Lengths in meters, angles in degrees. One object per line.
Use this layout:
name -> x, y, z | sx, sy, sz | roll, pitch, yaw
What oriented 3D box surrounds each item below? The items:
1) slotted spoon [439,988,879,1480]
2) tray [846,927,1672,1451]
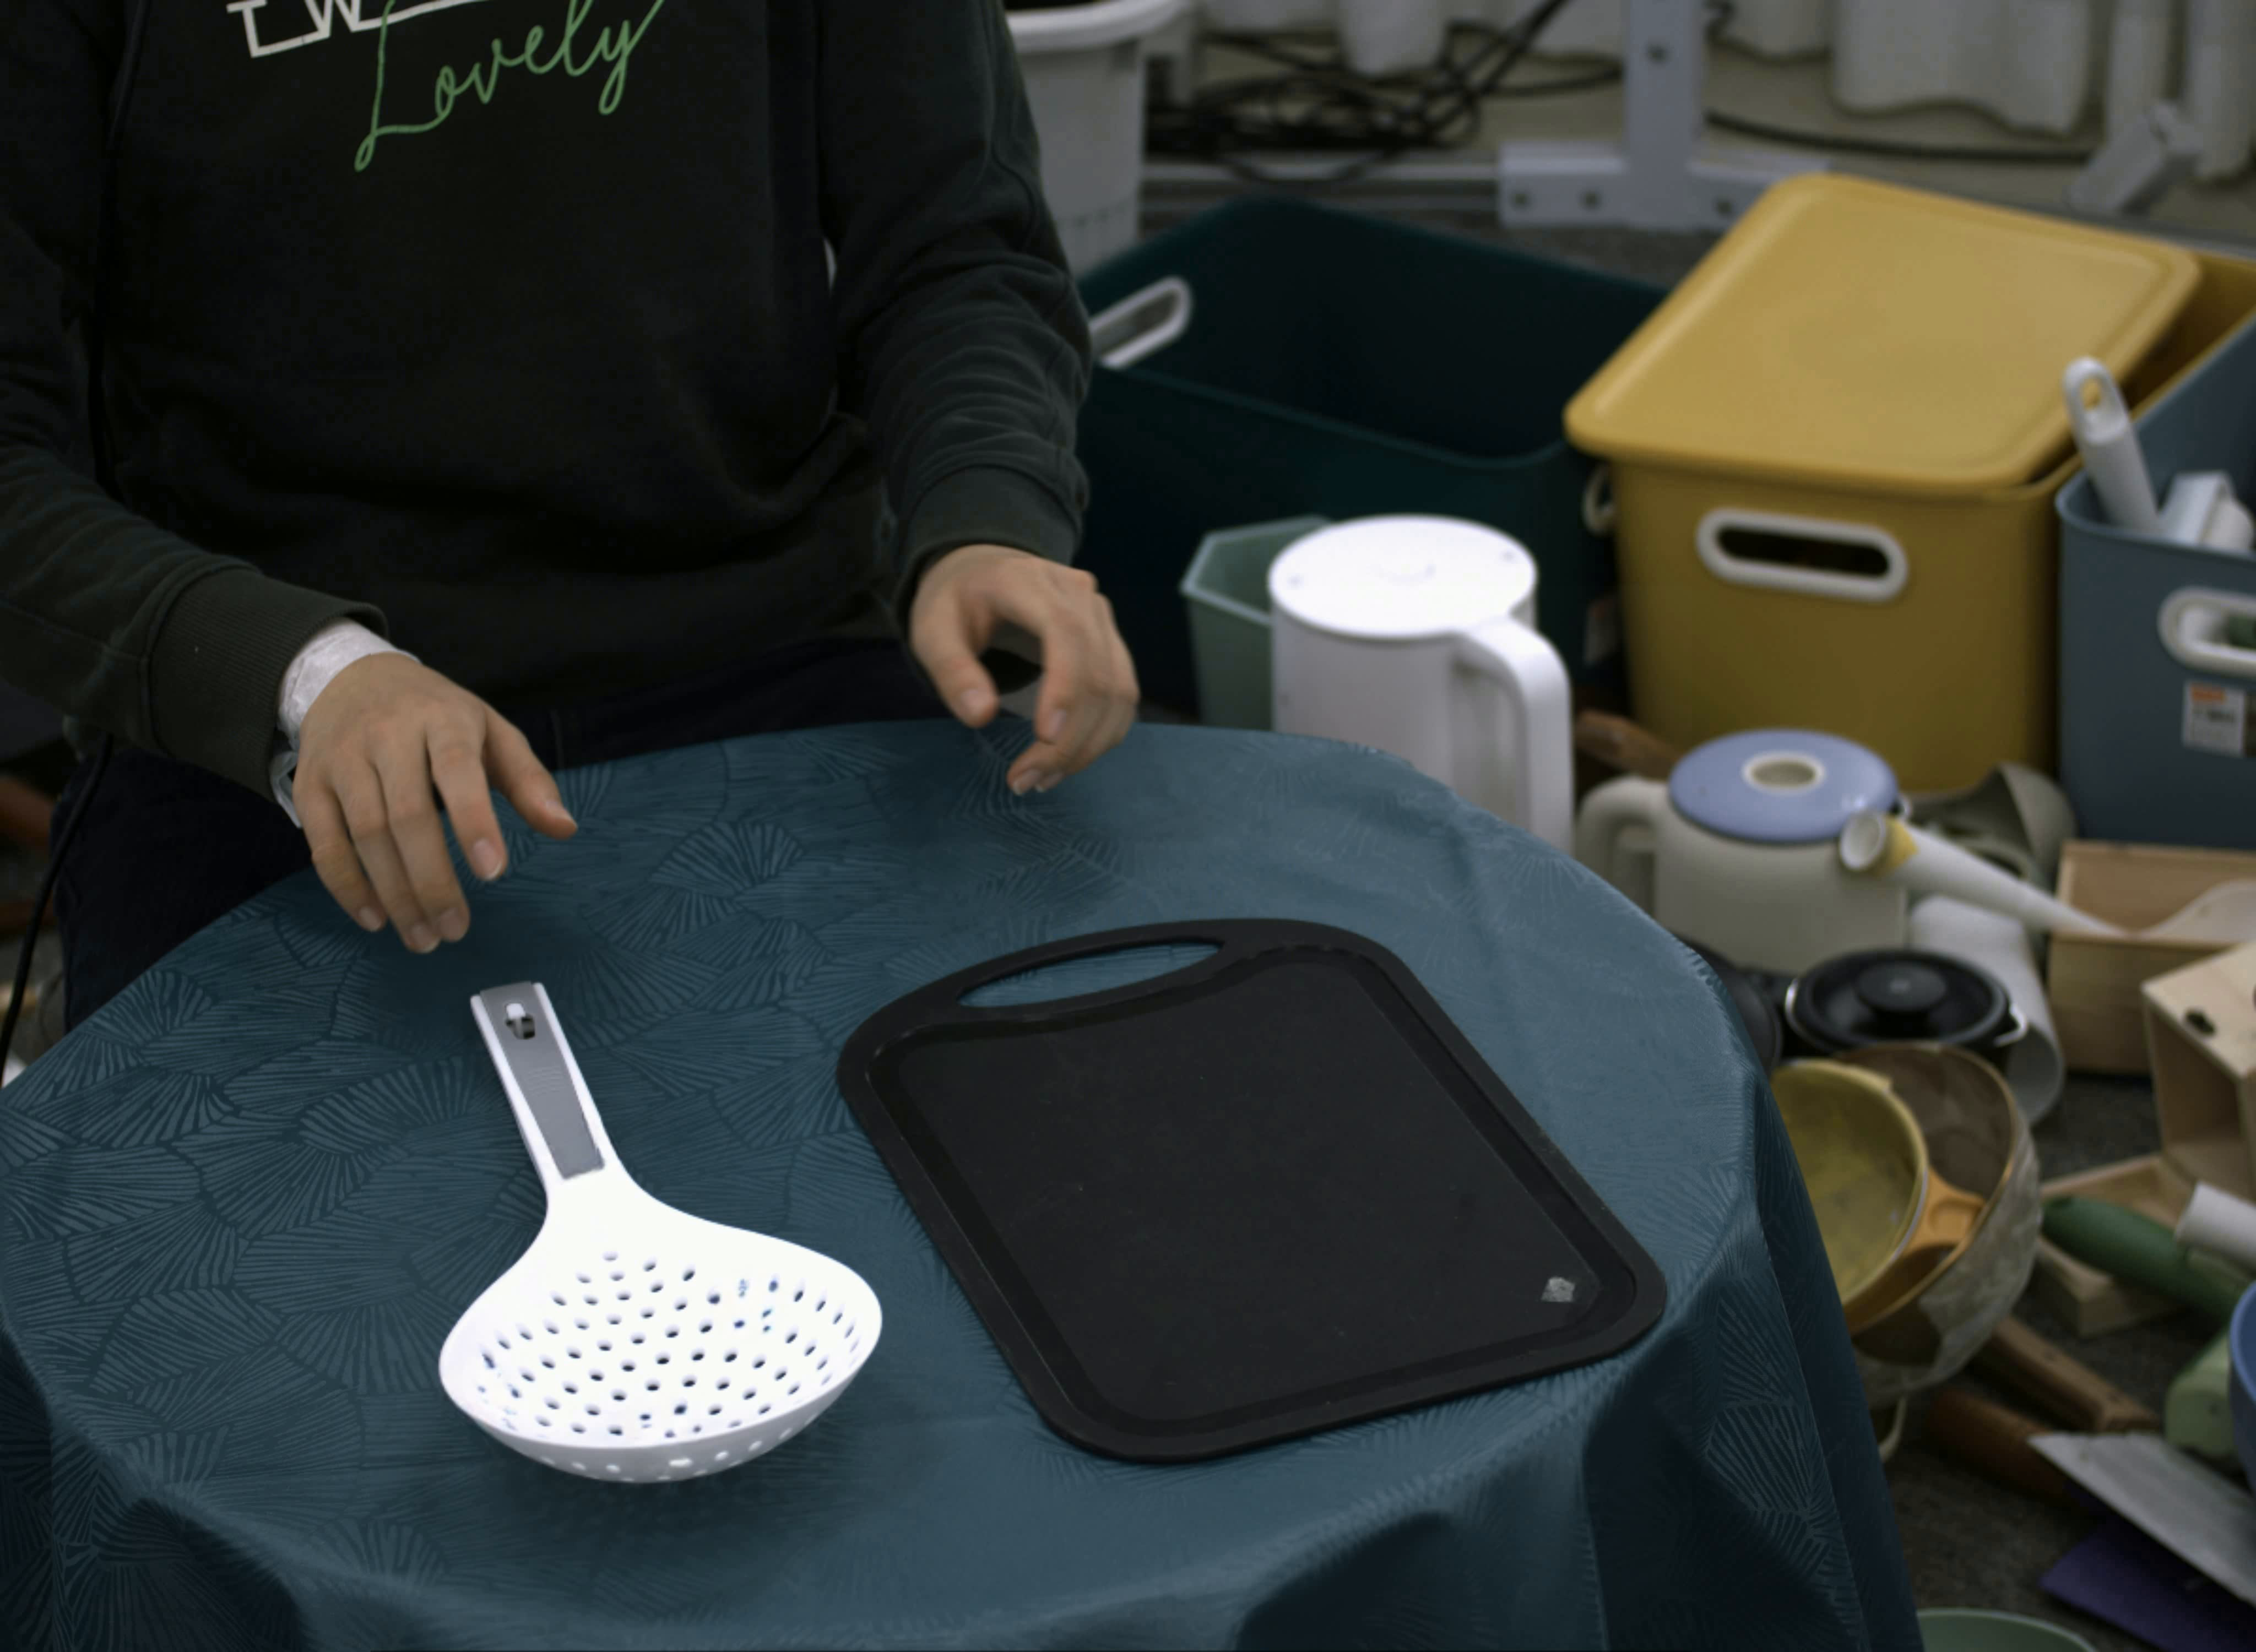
slotted spoon -> -0.172, 0.126, 1.821 | 0.136, 0.045, 0.353 | -9, 27, -13
tray -> 0.033, 0.111, 1.871 | 0.211, 0.009, 0.328 | -11, 28, -16
